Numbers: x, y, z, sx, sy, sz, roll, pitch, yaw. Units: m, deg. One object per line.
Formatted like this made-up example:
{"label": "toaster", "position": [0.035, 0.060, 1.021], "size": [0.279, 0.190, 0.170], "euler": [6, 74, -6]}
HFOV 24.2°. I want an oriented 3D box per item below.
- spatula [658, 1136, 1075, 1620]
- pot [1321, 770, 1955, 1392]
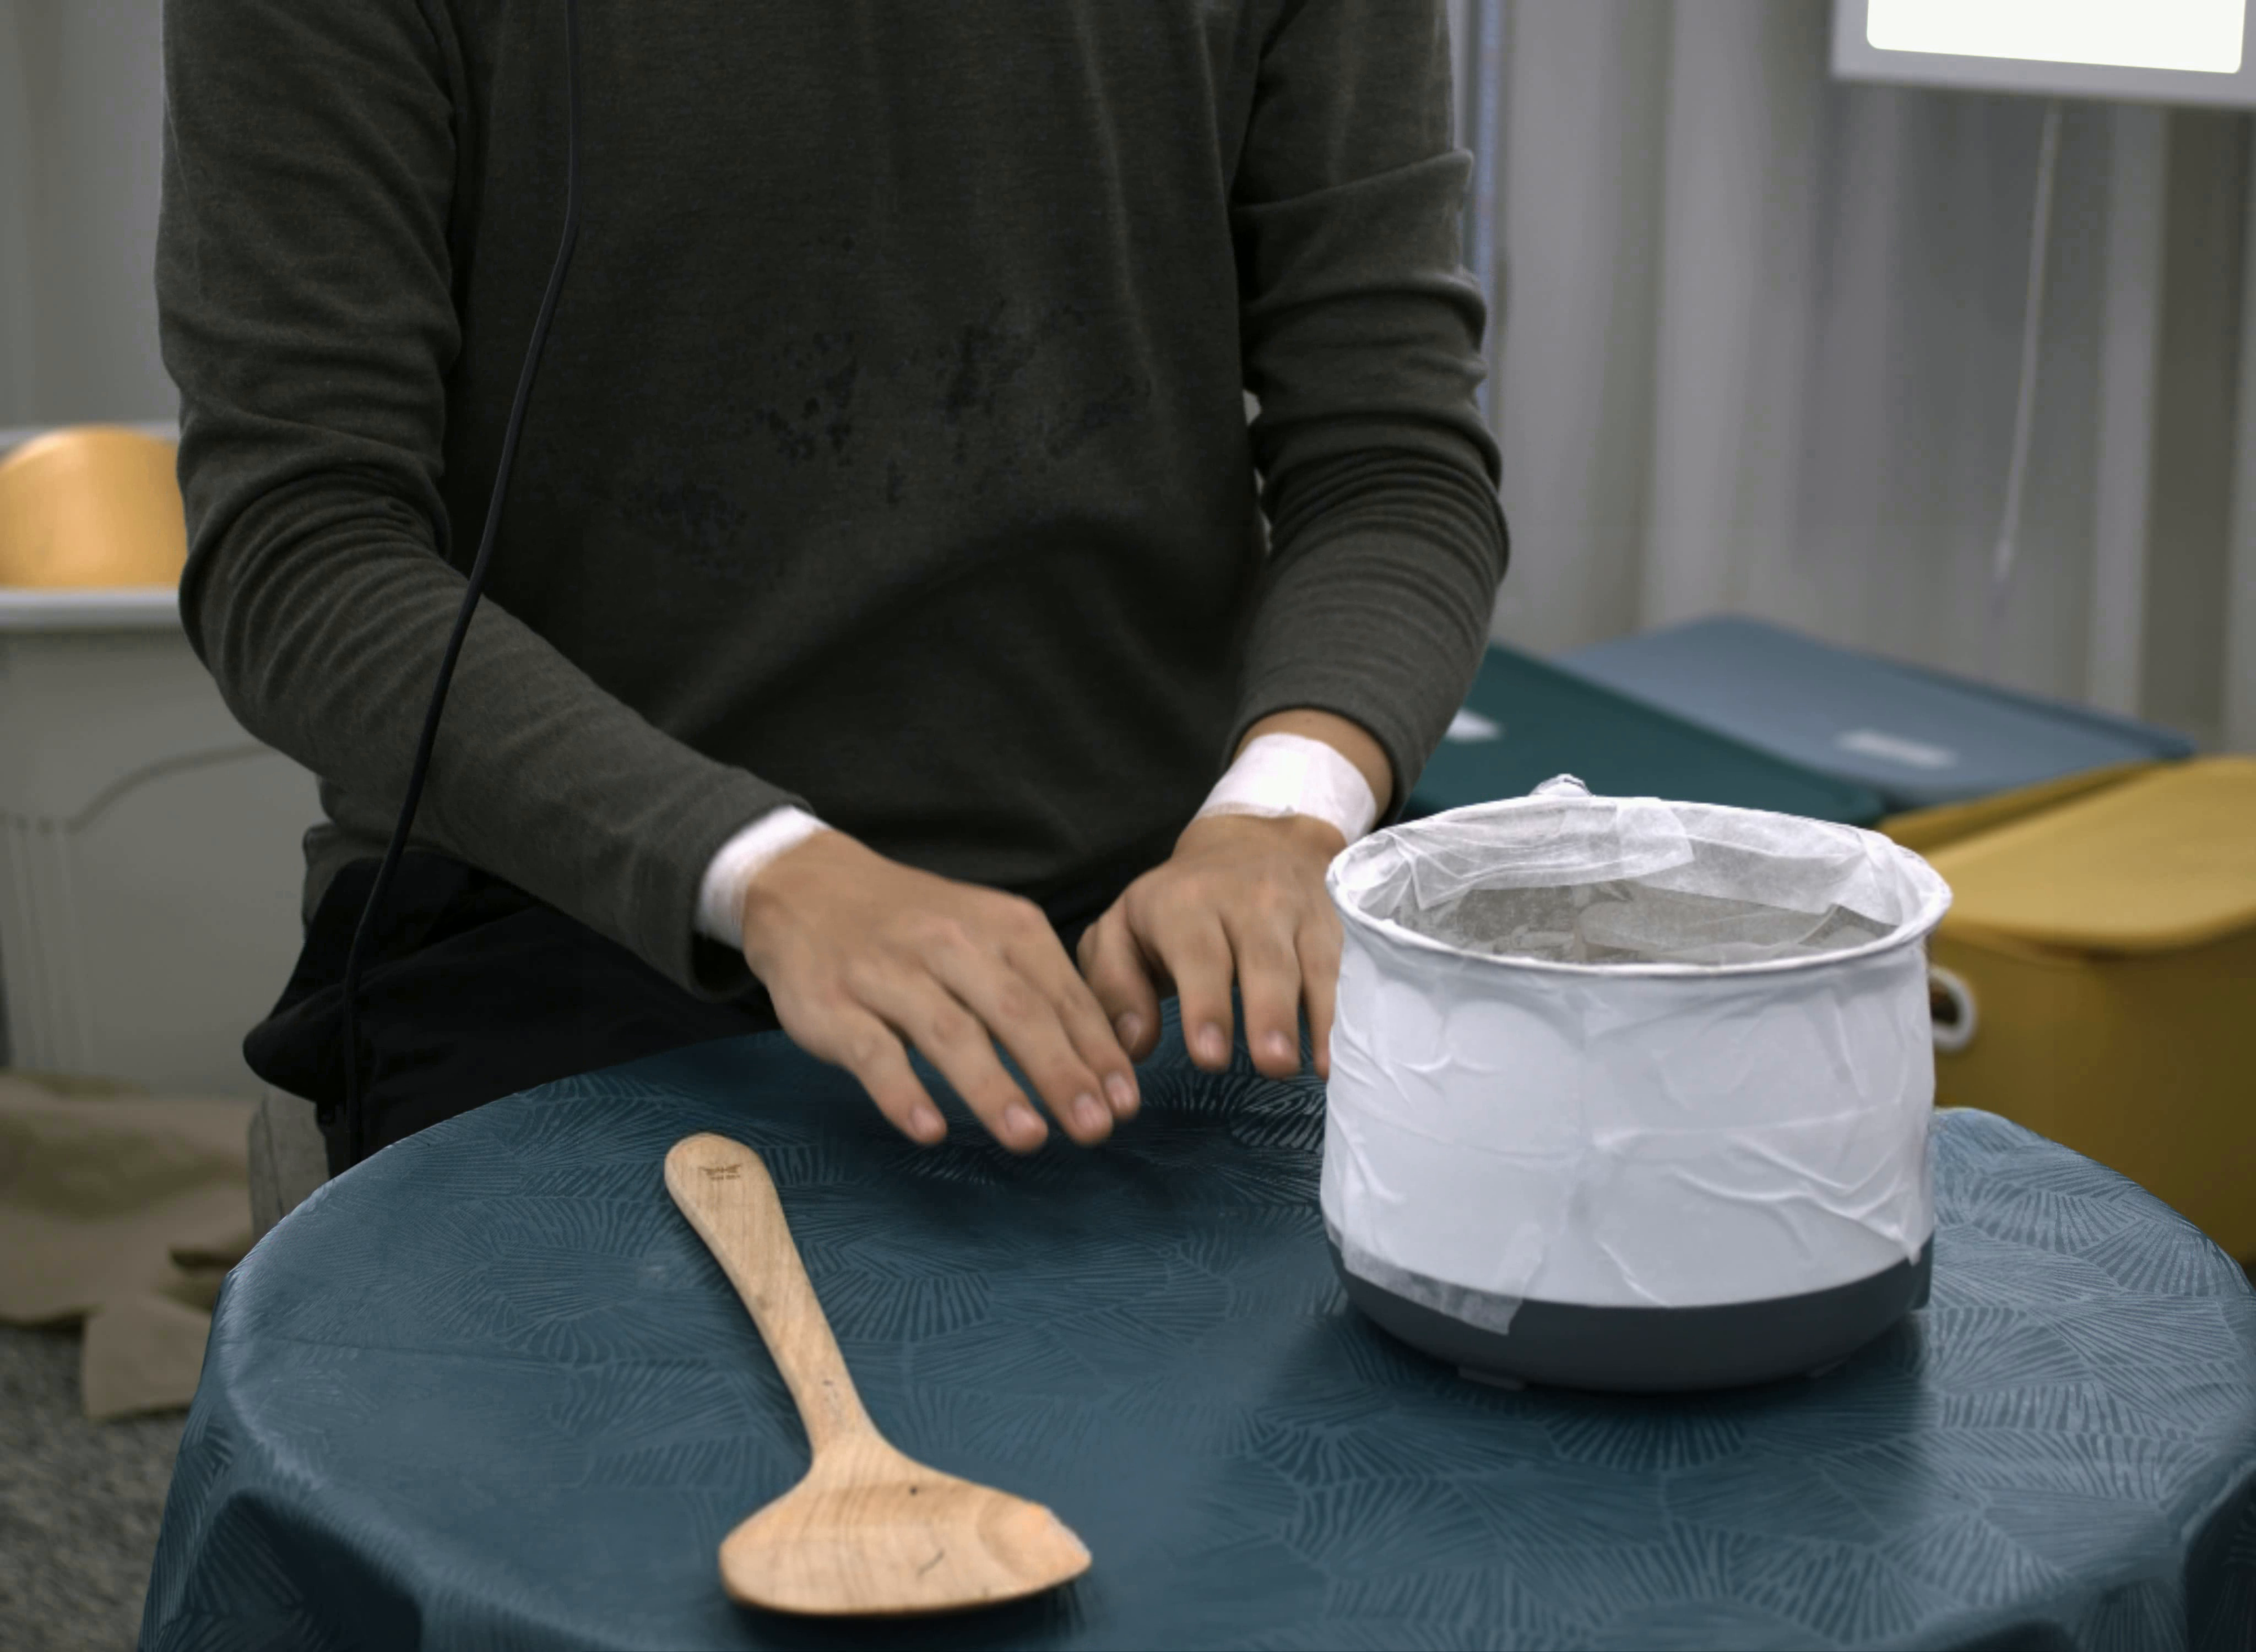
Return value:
{"label": "spatula", "position": [-0.097, 0.147, 1.463], "size": [0.096, 0.018, 0.387], "euler": [-1, 16, -13]}
{"label": "pot", "position": [0.139, 0.068, 1.529], "size": [0.178, 0.138, 0.232], "euler": [-2, 16, -9]}
